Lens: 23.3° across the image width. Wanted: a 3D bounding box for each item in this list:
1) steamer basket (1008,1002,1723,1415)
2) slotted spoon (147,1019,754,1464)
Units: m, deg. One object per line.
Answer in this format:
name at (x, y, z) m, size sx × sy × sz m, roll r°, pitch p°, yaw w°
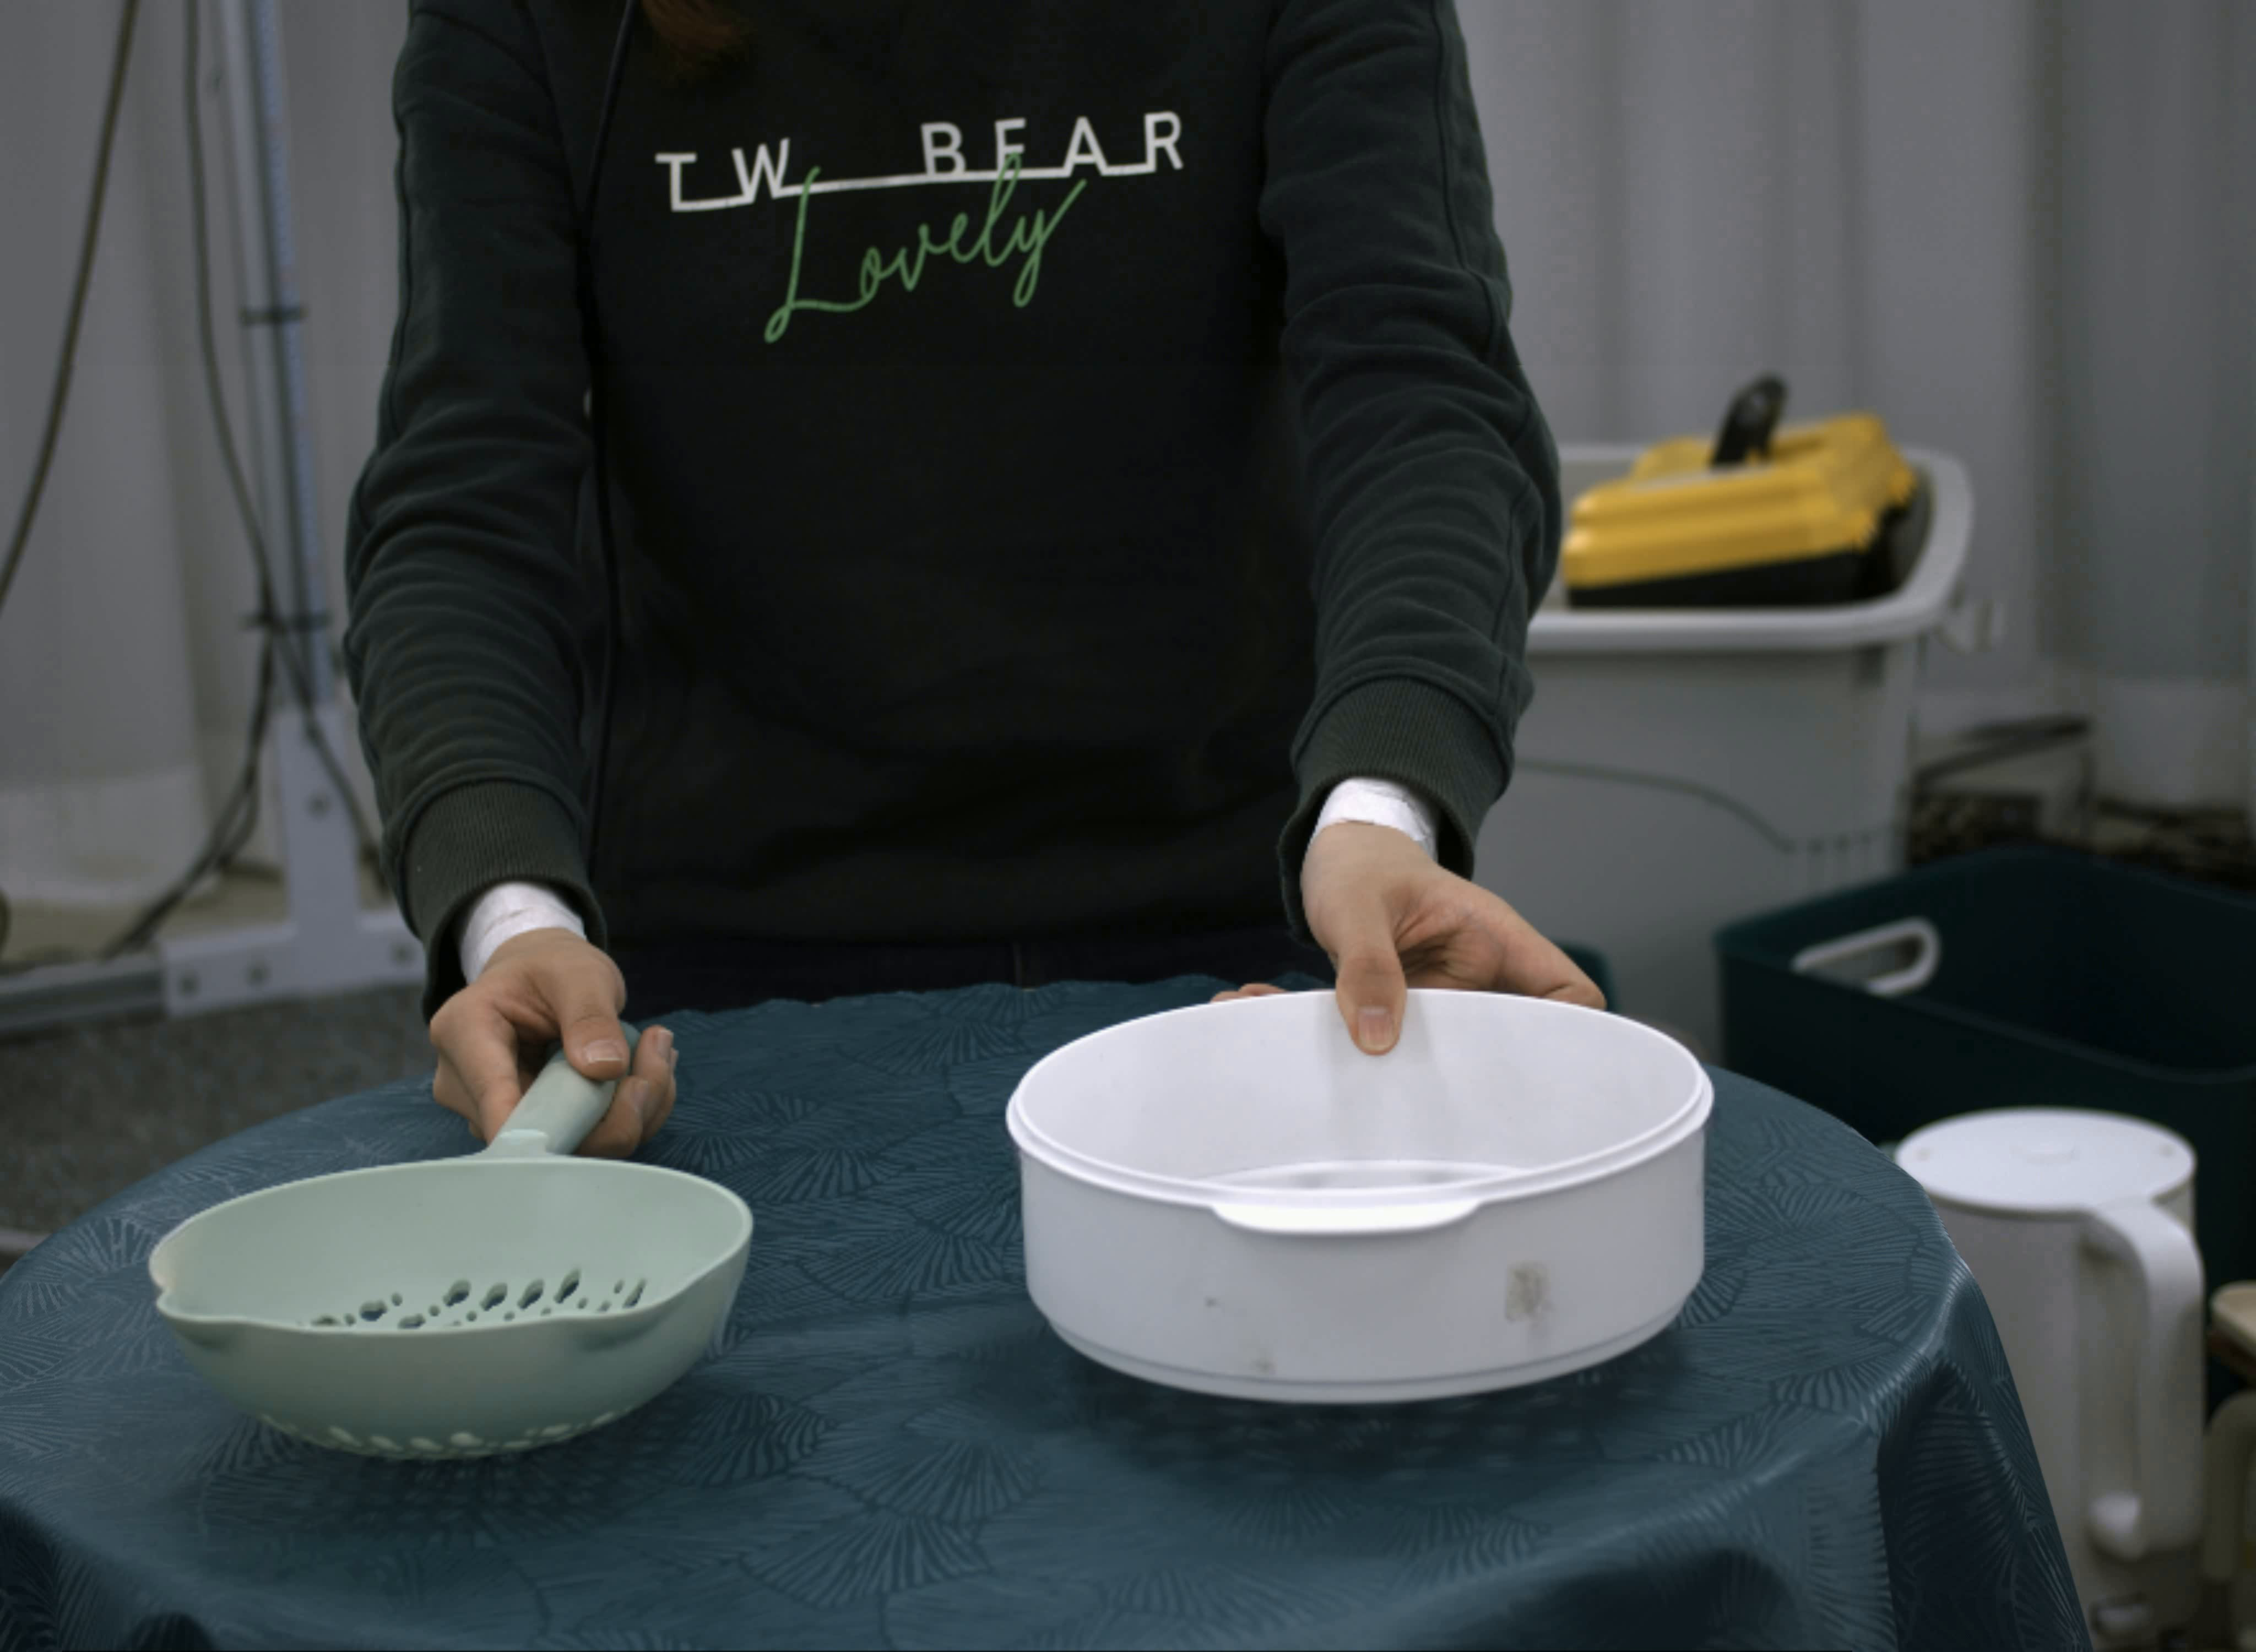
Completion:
steamer basket at (0.067, 0.107, 1.547) m, size 0.201 × 0.069 × 0.232 m, roll -1°, pitch 14°, yaw 4°
slotted spoon at (-0.180, 0.107, 1.624) m, size 0.169 × 0.075 × 0.362 m, roll -1°, pitch 20°, yaw 5°
